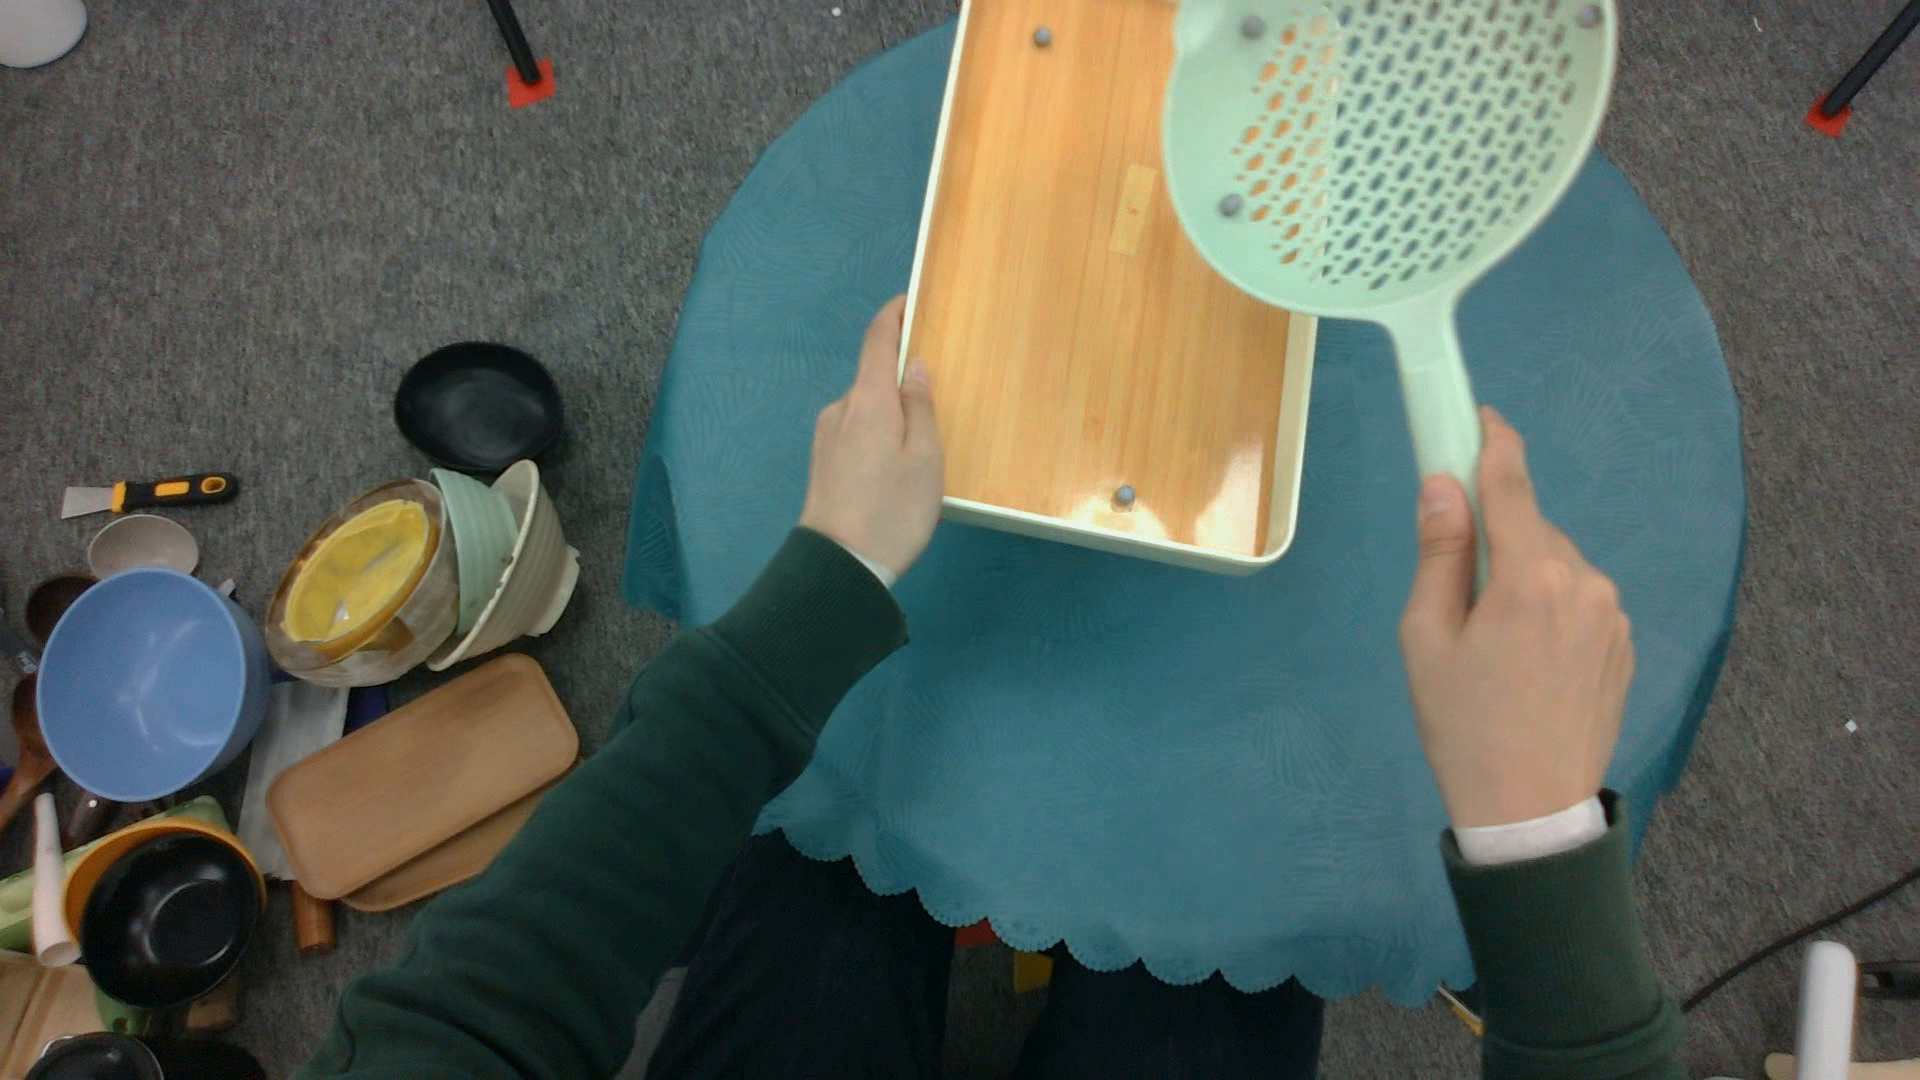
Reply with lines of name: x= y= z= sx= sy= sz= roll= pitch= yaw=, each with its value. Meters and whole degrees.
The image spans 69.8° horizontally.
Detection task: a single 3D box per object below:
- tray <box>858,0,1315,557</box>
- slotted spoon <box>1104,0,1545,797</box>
tray: x=0.067 y=-0.150 z=0.660 sx=0.191 sy=0.027 sz=0.301 roll=11 pitch=72 yaw=-6
slotted spoon: x=0.160 y=-0.083 z=0.516 sx=0.168 sy=0.075 sz=0.359 roll=-19 pitch=73 yaw=34
